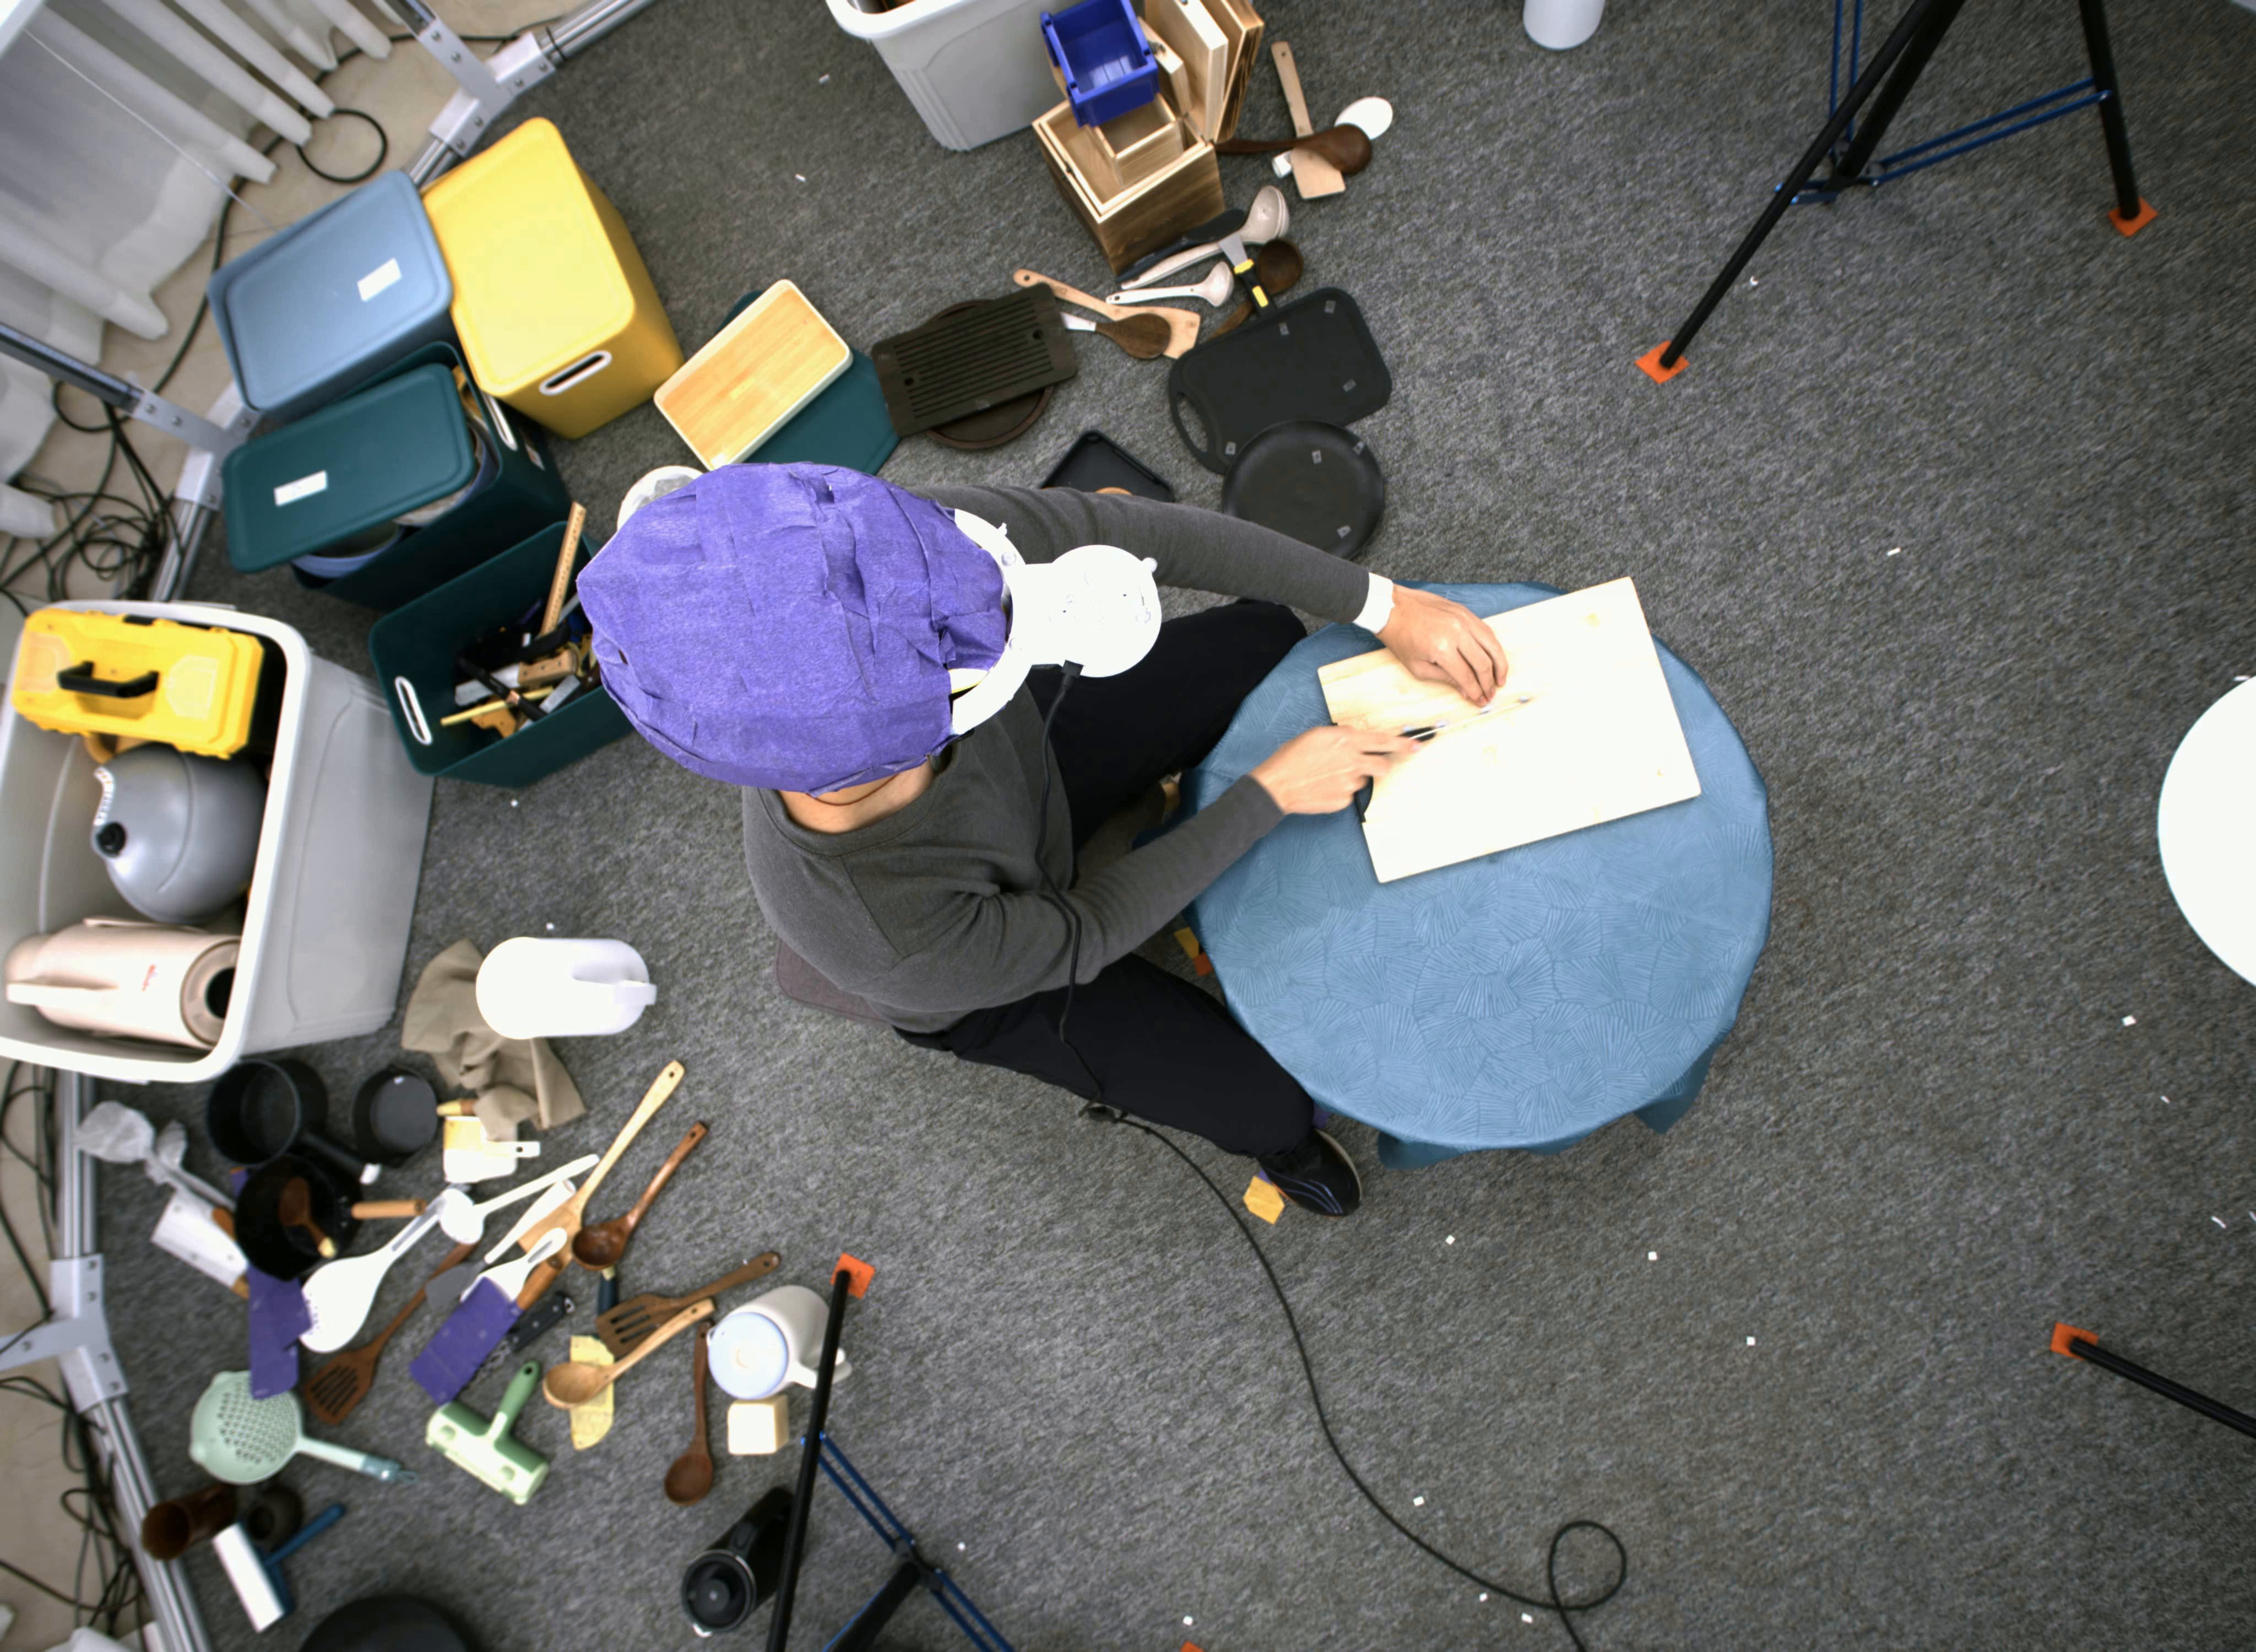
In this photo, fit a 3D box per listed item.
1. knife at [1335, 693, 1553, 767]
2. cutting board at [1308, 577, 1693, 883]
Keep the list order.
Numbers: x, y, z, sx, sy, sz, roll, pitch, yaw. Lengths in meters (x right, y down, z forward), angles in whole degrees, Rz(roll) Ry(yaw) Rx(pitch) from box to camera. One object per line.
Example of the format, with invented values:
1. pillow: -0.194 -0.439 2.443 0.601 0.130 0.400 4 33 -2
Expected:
1. knife: 0.329 -0.104 1.422 0.238 0.024 0.016 -18 87 2
2. cutting board: 0.390 -0.102 1.440 0.350 0.023 0.249 -17 83 9
